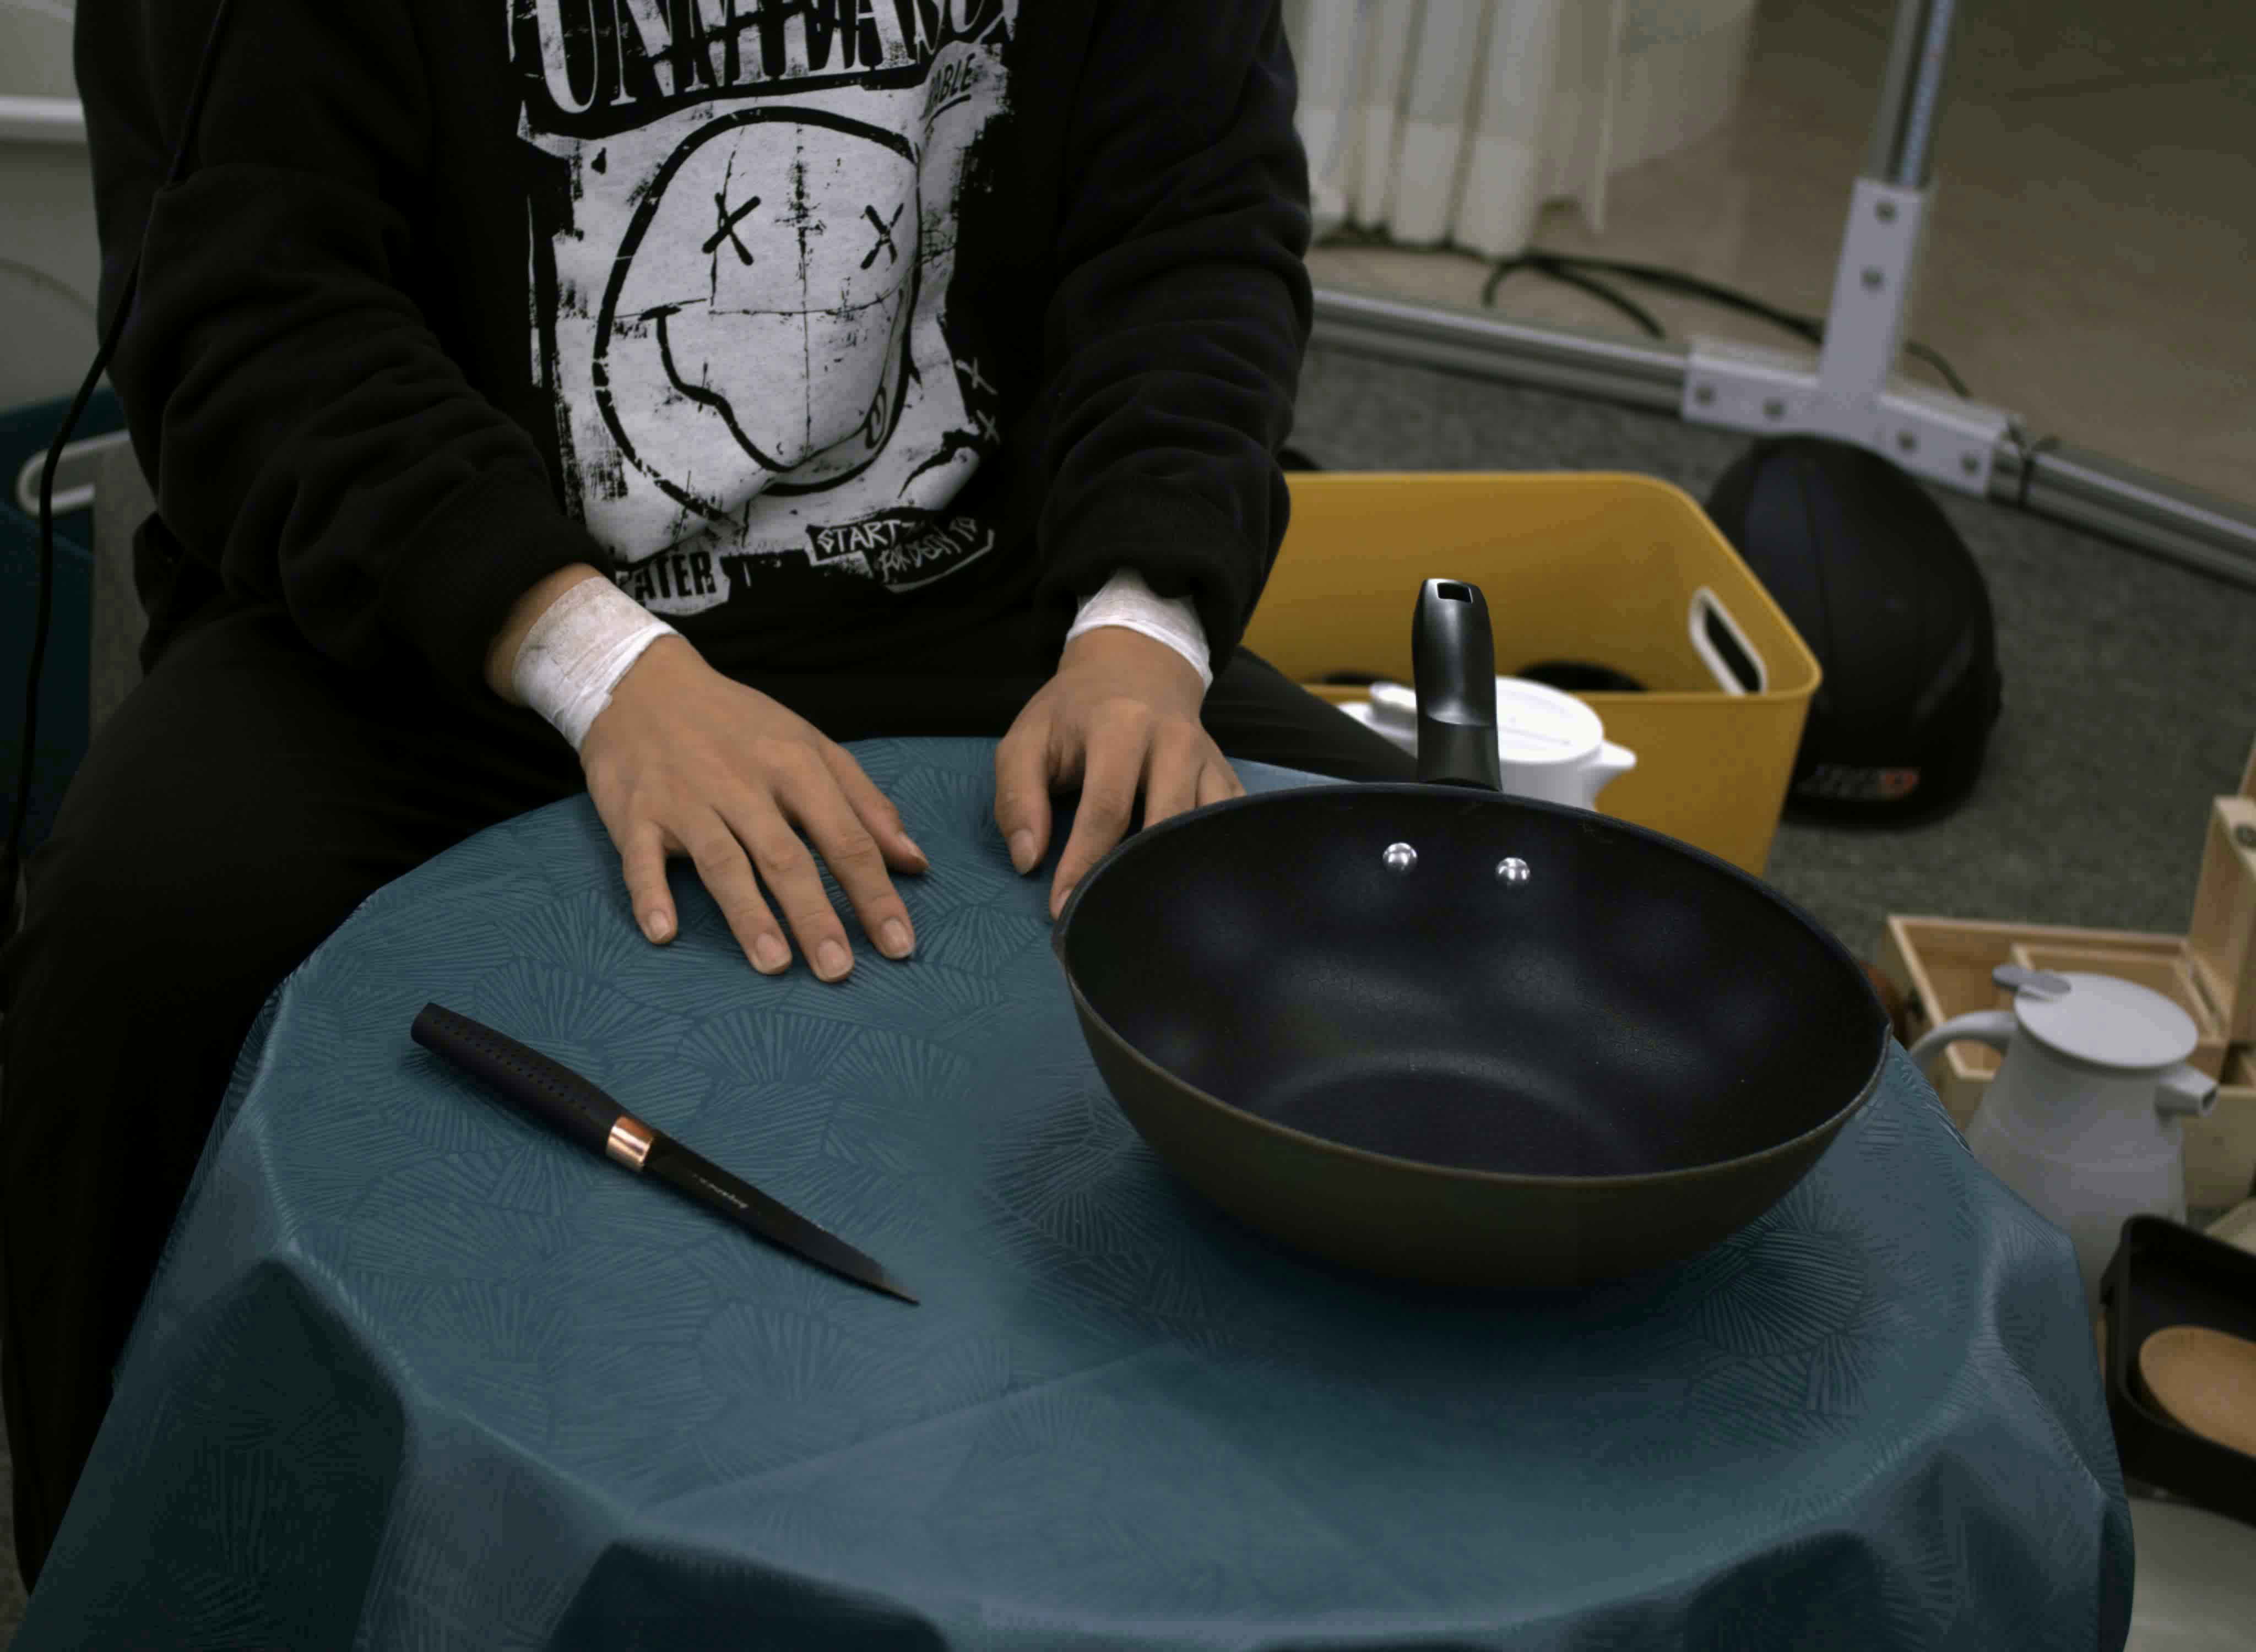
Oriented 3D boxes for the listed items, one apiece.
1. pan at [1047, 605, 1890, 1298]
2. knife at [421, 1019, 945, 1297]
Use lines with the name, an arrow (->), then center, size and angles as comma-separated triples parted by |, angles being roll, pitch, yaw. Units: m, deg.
pan -> 0.115, 0.045, 1.898 | 0.287, 0.086, 0.466 | 6, 26, -1
knife -> -0.152, 0.112, 1.784 | 0.227, 0.017, 0.026 | 25, 19, 31
